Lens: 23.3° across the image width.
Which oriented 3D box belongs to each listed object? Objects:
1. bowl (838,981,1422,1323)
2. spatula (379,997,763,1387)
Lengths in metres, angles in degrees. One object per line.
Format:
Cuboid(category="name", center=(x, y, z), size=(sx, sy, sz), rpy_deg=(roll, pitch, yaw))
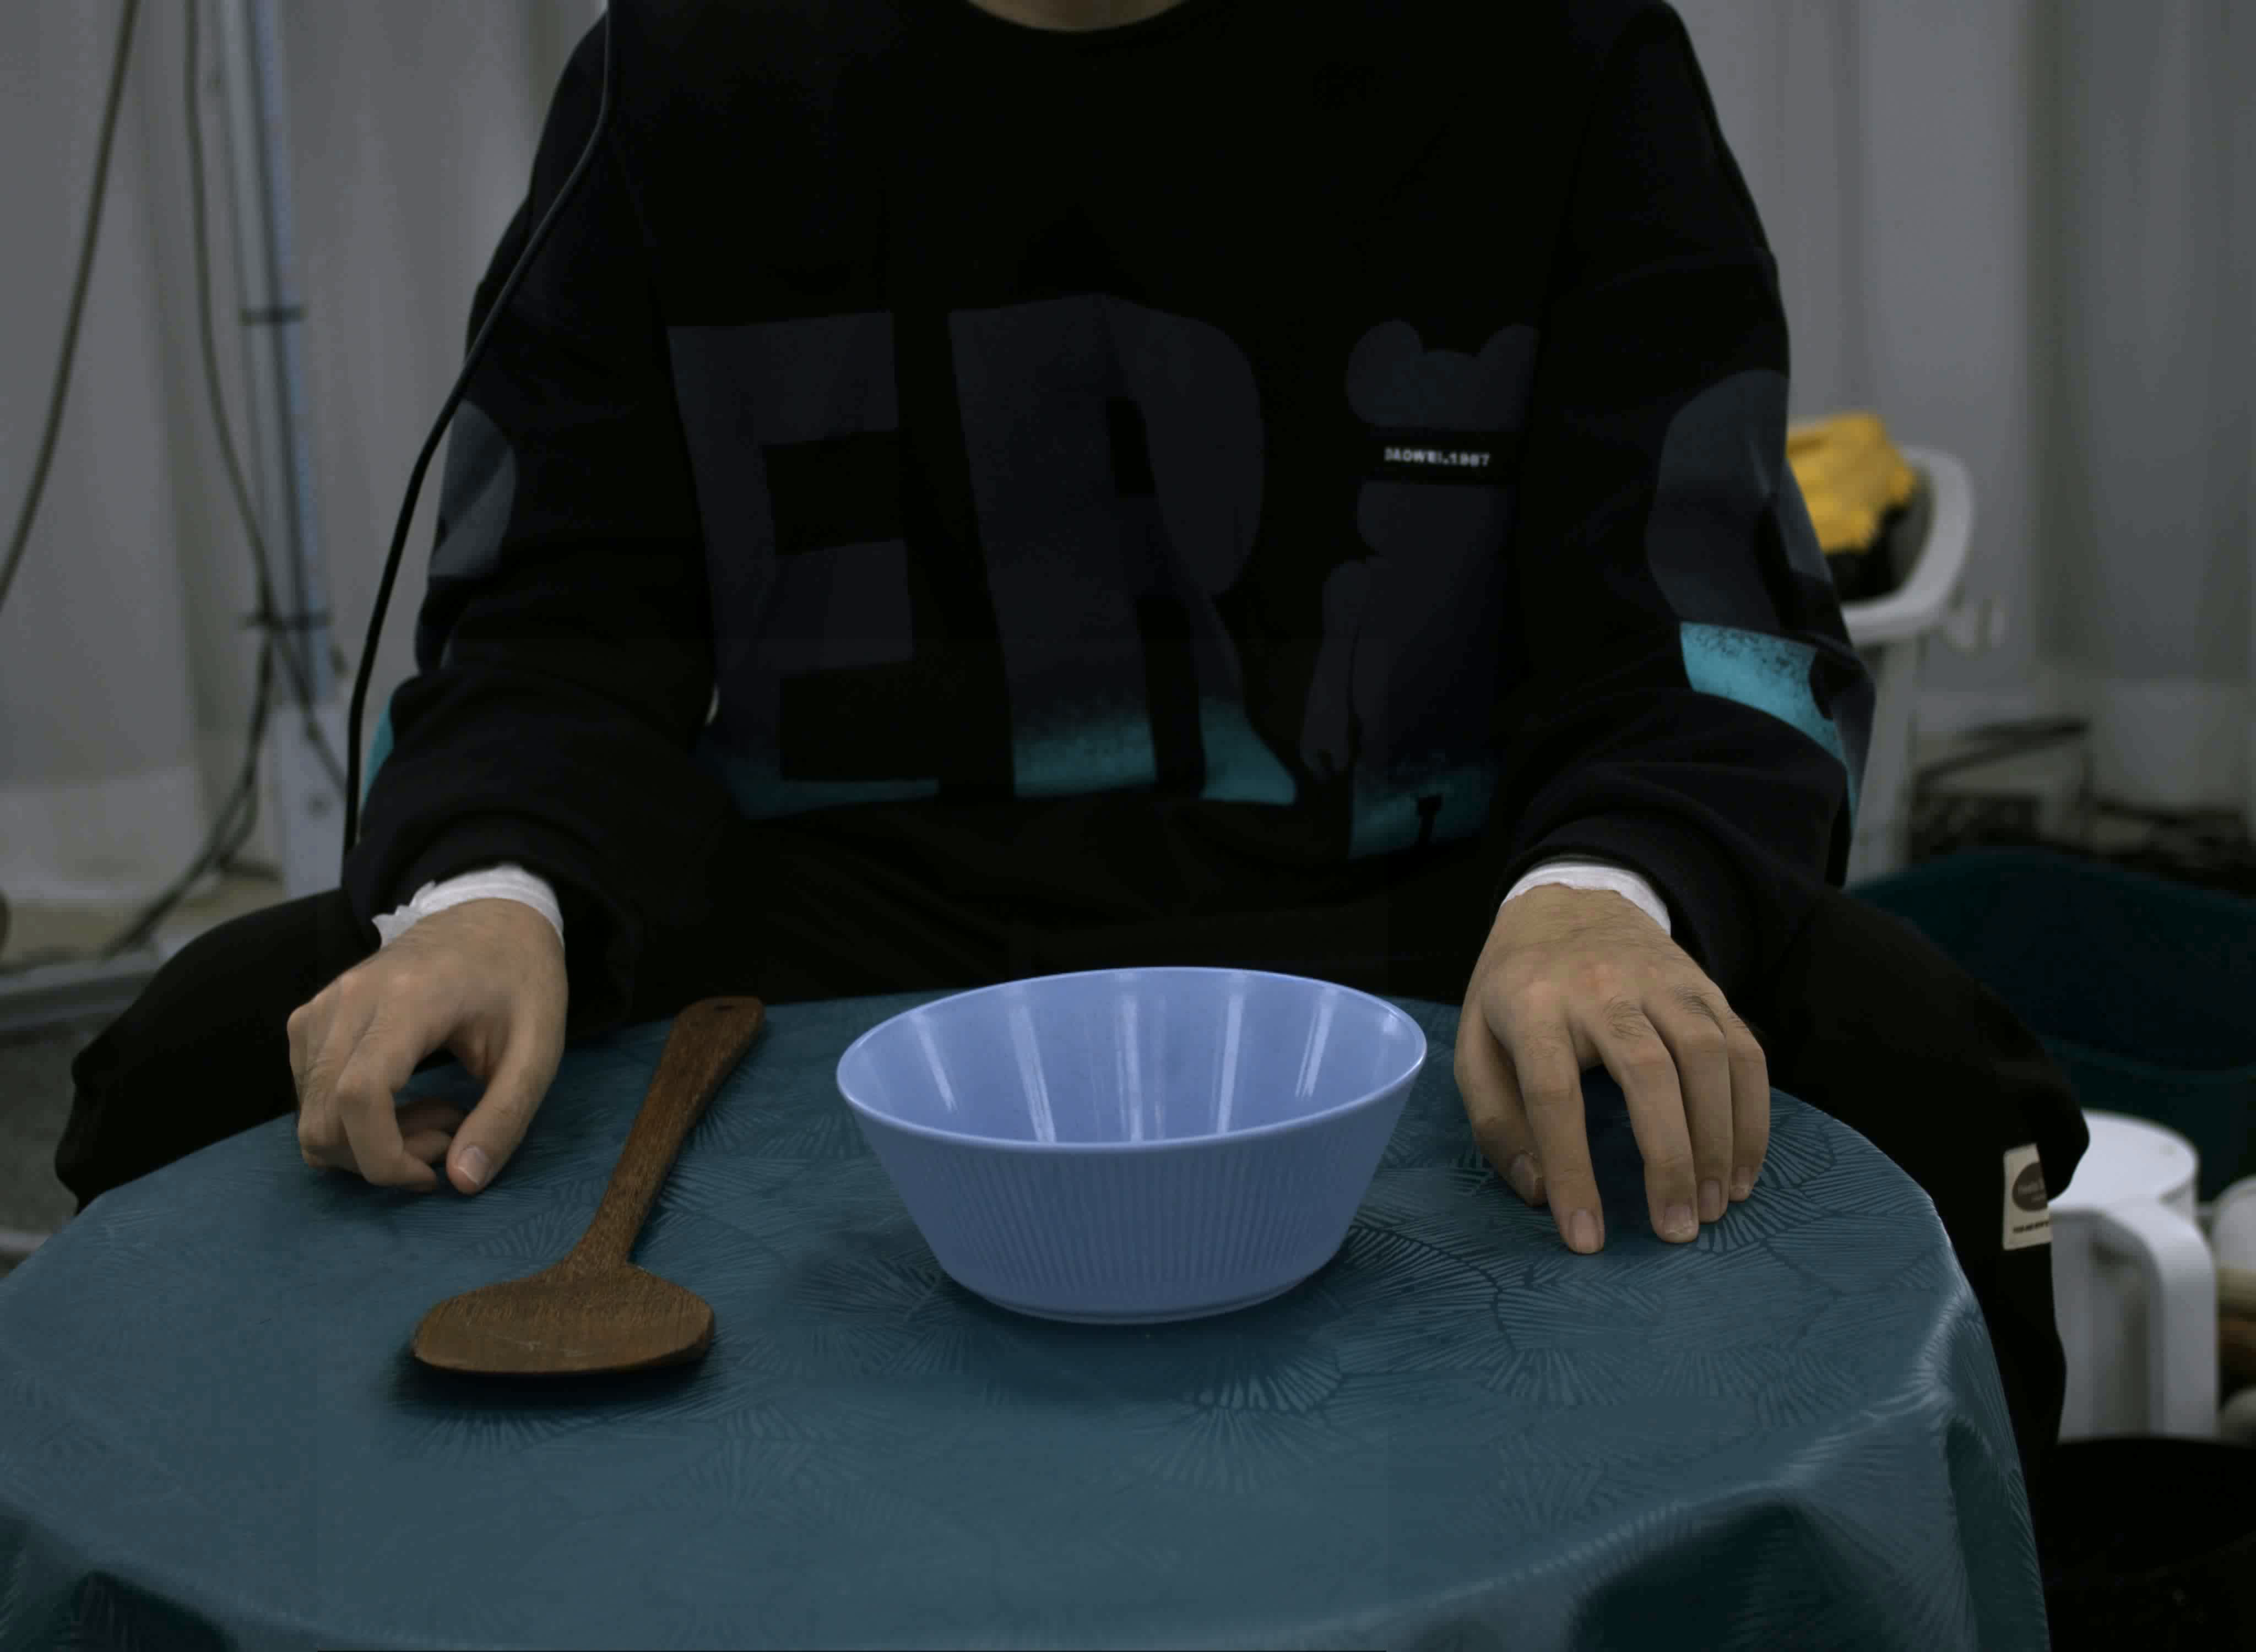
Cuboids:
Cuboid(category="bowl", center=(0.002, 0.100, 1.638), size=(0.175, 0.070, 0.177), rpy_deg=(-2, 13, 0))
Cuboid(category="spatula", center=(-0.155, 0.110, 1.736), size=(0.096, 0.016, 0.388), rpy_deg=(-1, 15, 5))
